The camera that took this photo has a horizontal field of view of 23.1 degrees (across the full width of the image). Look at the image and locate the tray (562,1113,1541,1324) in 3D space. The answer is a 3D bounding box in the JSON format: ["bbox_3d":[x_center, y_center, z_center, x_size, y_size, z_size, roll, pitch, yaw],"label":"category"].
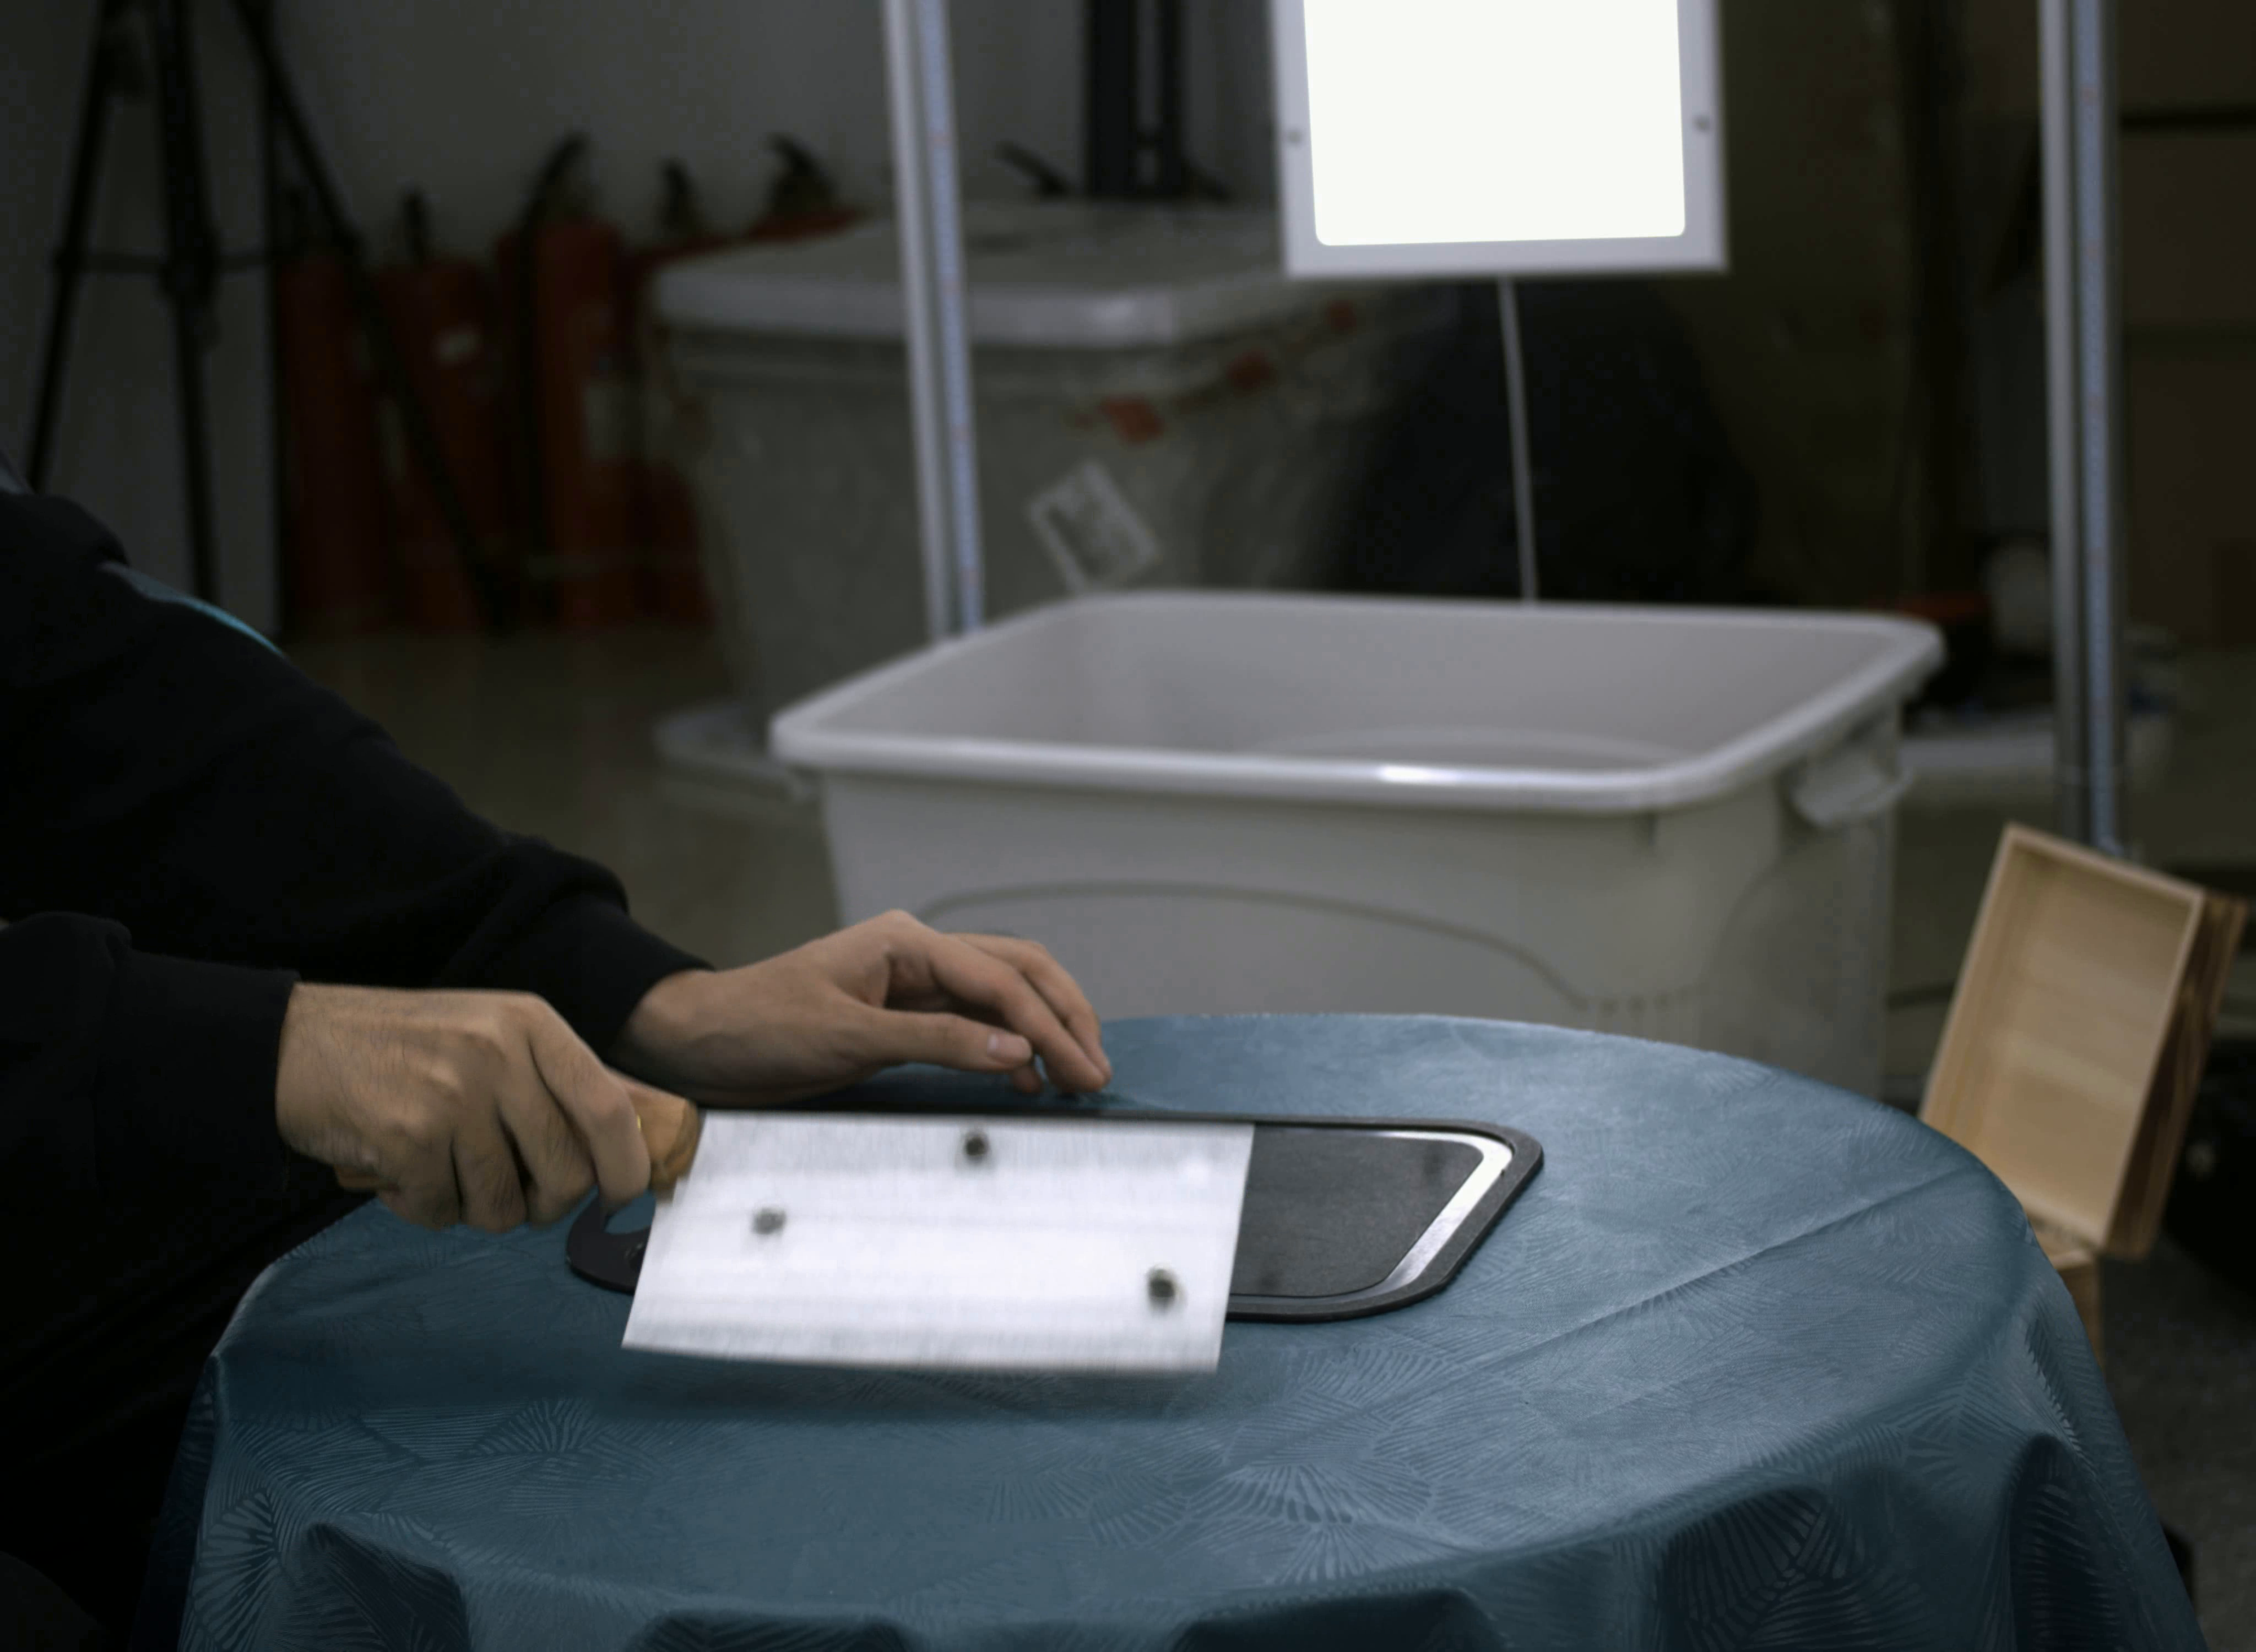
[{"bbox_3d":[-0.032,0.128,1.886,0.330,0.010,0.207,1,15,21],"label":"tray"}]

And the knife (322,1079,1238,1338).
[{"bbox_3d":[-0.115,0.121,1.741,0.308,0.021,0.092,-1,54,15],"label":"knife"}]
